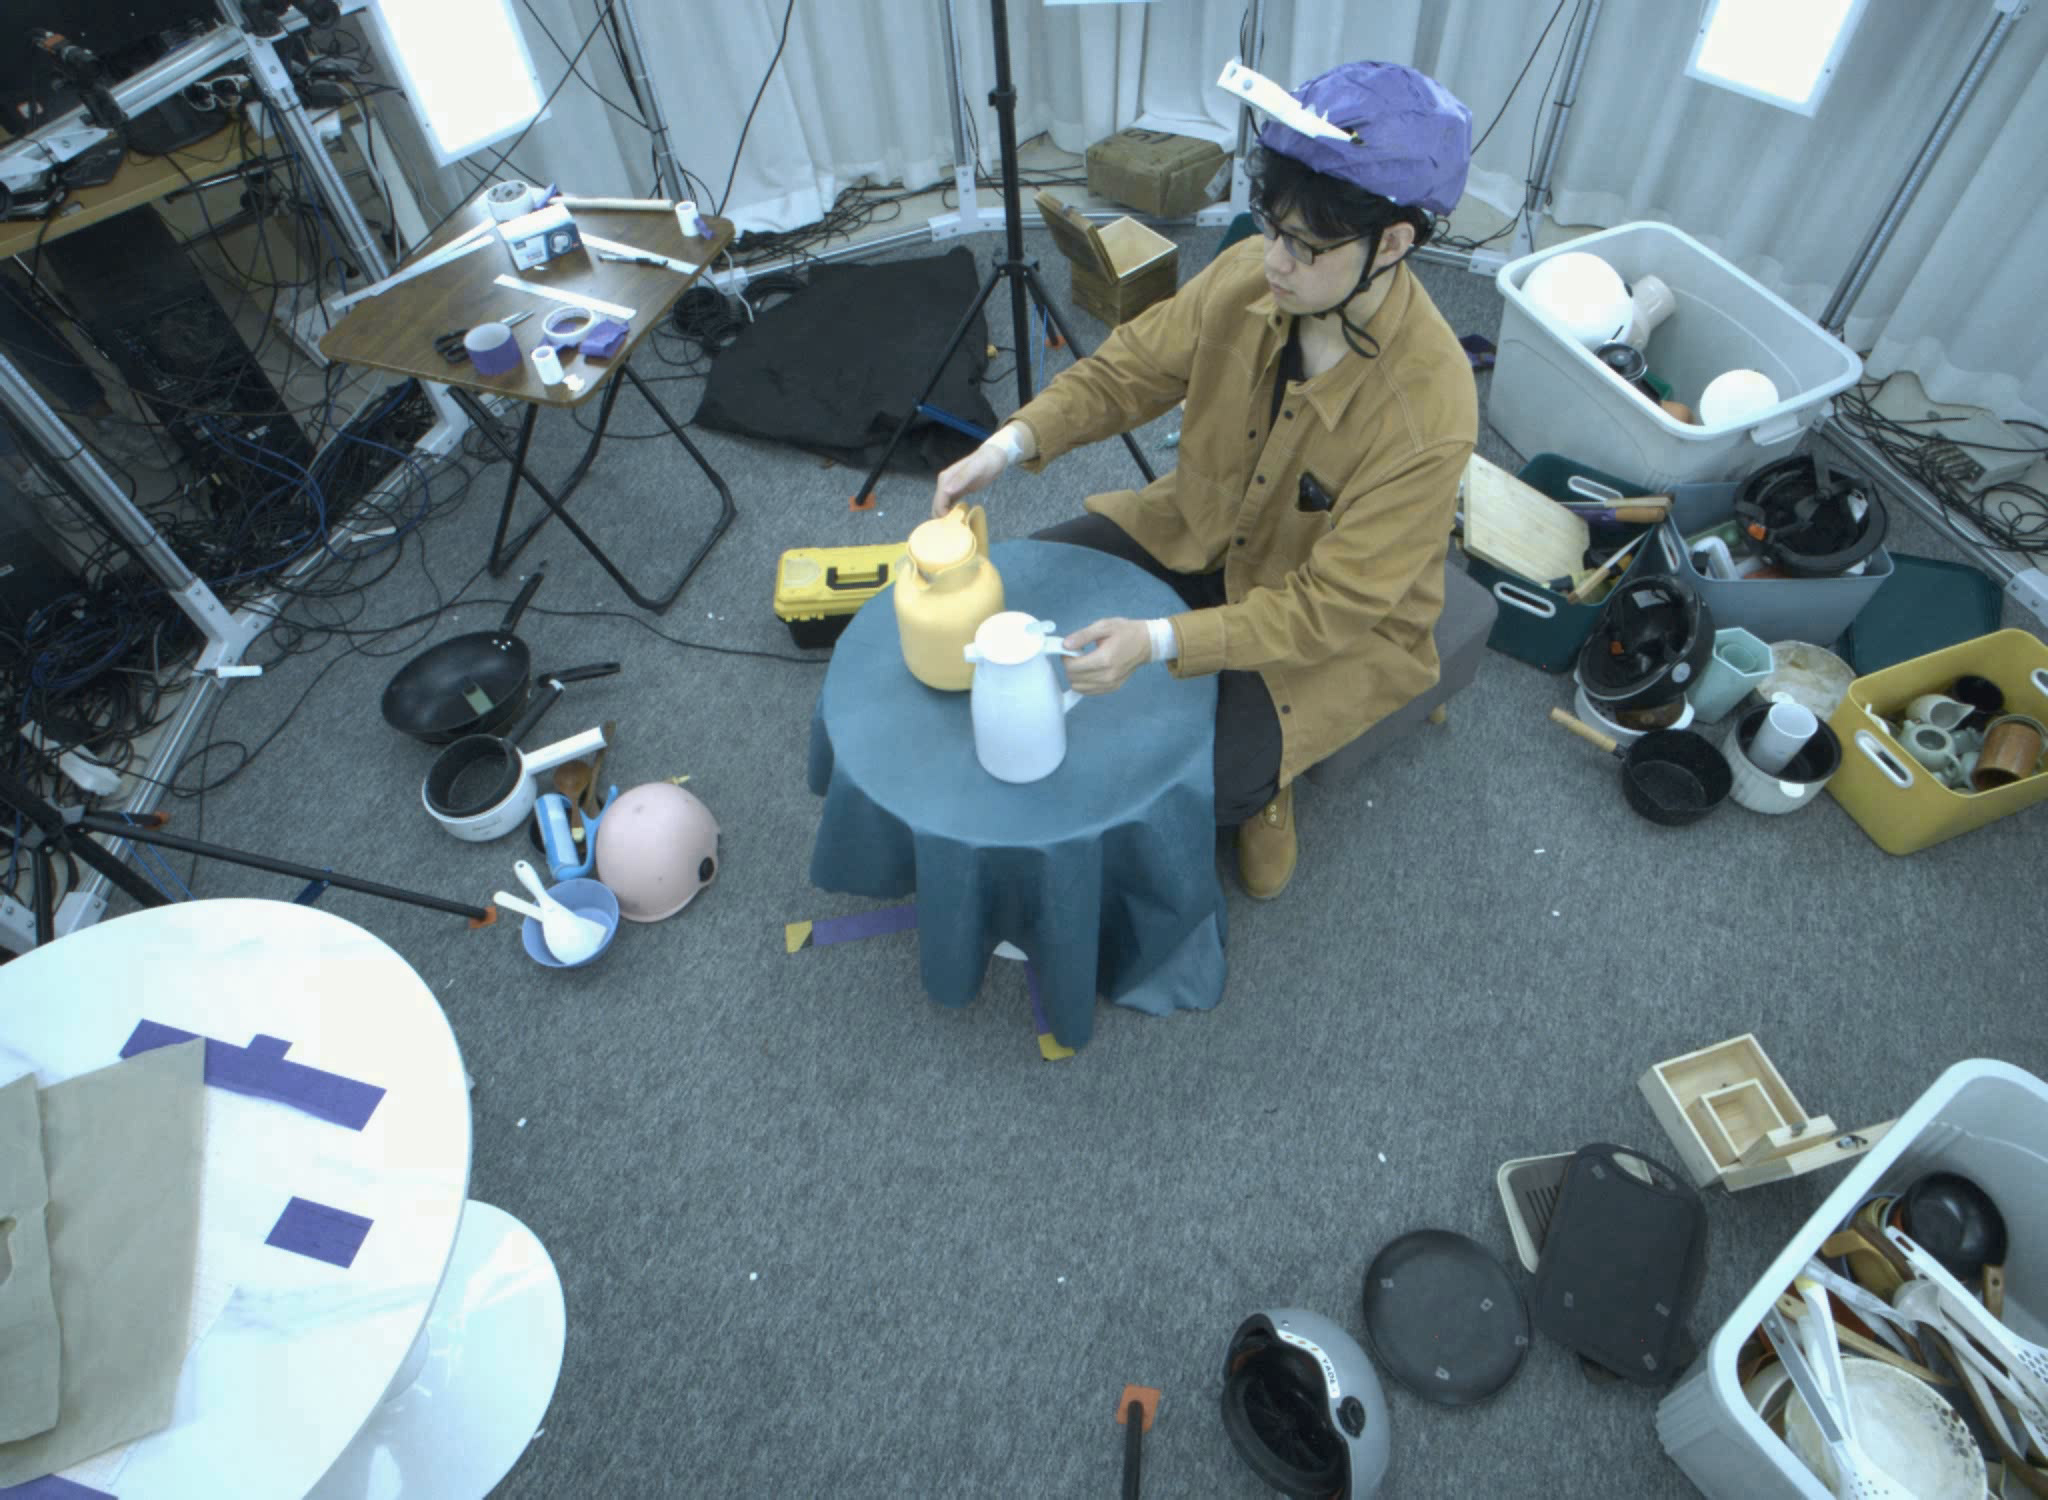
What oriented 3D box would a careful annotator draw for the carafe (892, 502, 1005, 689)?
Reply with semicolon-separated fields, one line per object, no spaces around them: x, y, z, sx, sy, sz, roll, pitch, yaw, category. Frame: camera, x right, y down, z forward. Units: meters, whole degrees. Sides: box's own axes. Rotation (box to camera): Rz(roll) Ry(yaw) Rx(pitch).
-0.102;-0.231;1.791;0.162;0.263;0.202;19;59;14;carafe

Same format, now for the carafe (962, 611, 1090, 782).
0.007;-0.083;1.688;0.168;0.251;0.130;-10;54;-4;carafe
